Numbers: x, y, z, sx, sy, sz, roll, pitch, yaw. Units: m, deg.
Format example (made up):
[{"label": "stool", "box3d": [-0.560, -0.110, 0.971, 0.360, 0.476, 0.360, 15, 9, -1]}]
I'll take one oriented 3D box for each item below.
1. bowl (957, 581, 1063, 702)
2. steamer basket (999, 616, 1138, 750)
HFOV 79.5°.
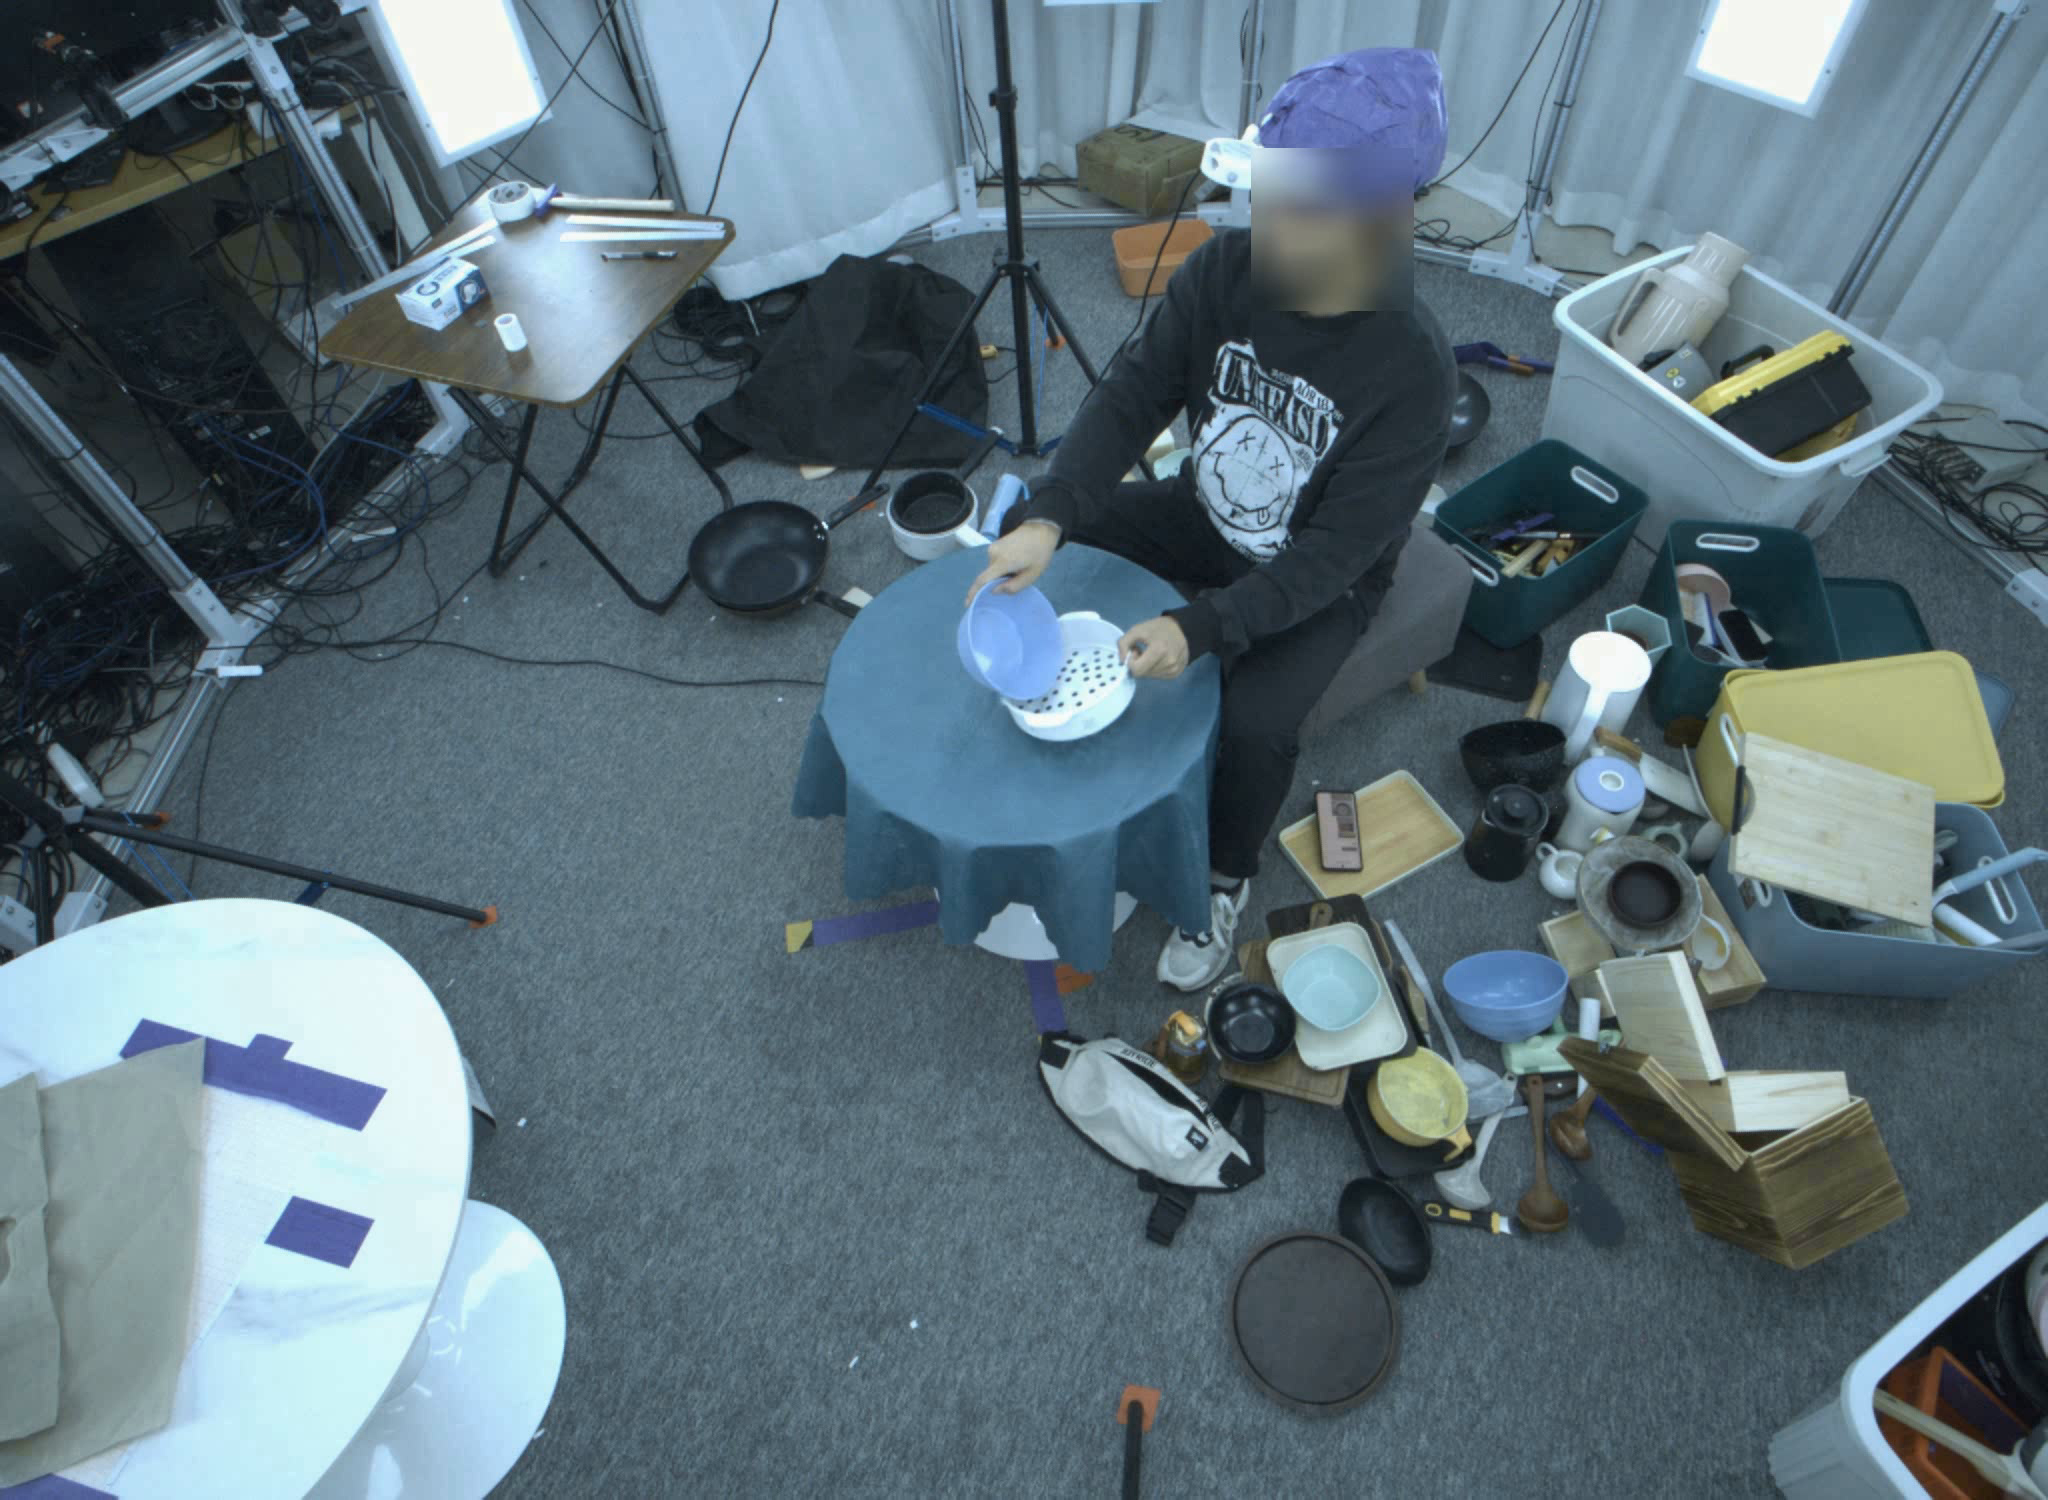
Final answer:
[{"label": "bowl", "box3d": [-0.031, -0.149, 1.754, 0.069, 0.179, 0.176, -11, 42, 47]}, {"label": "steamer basket", "box3d": [0.068, -0.093, 1.796, 0.199, 0.070, 0.229, 0, 52, 21]}]
